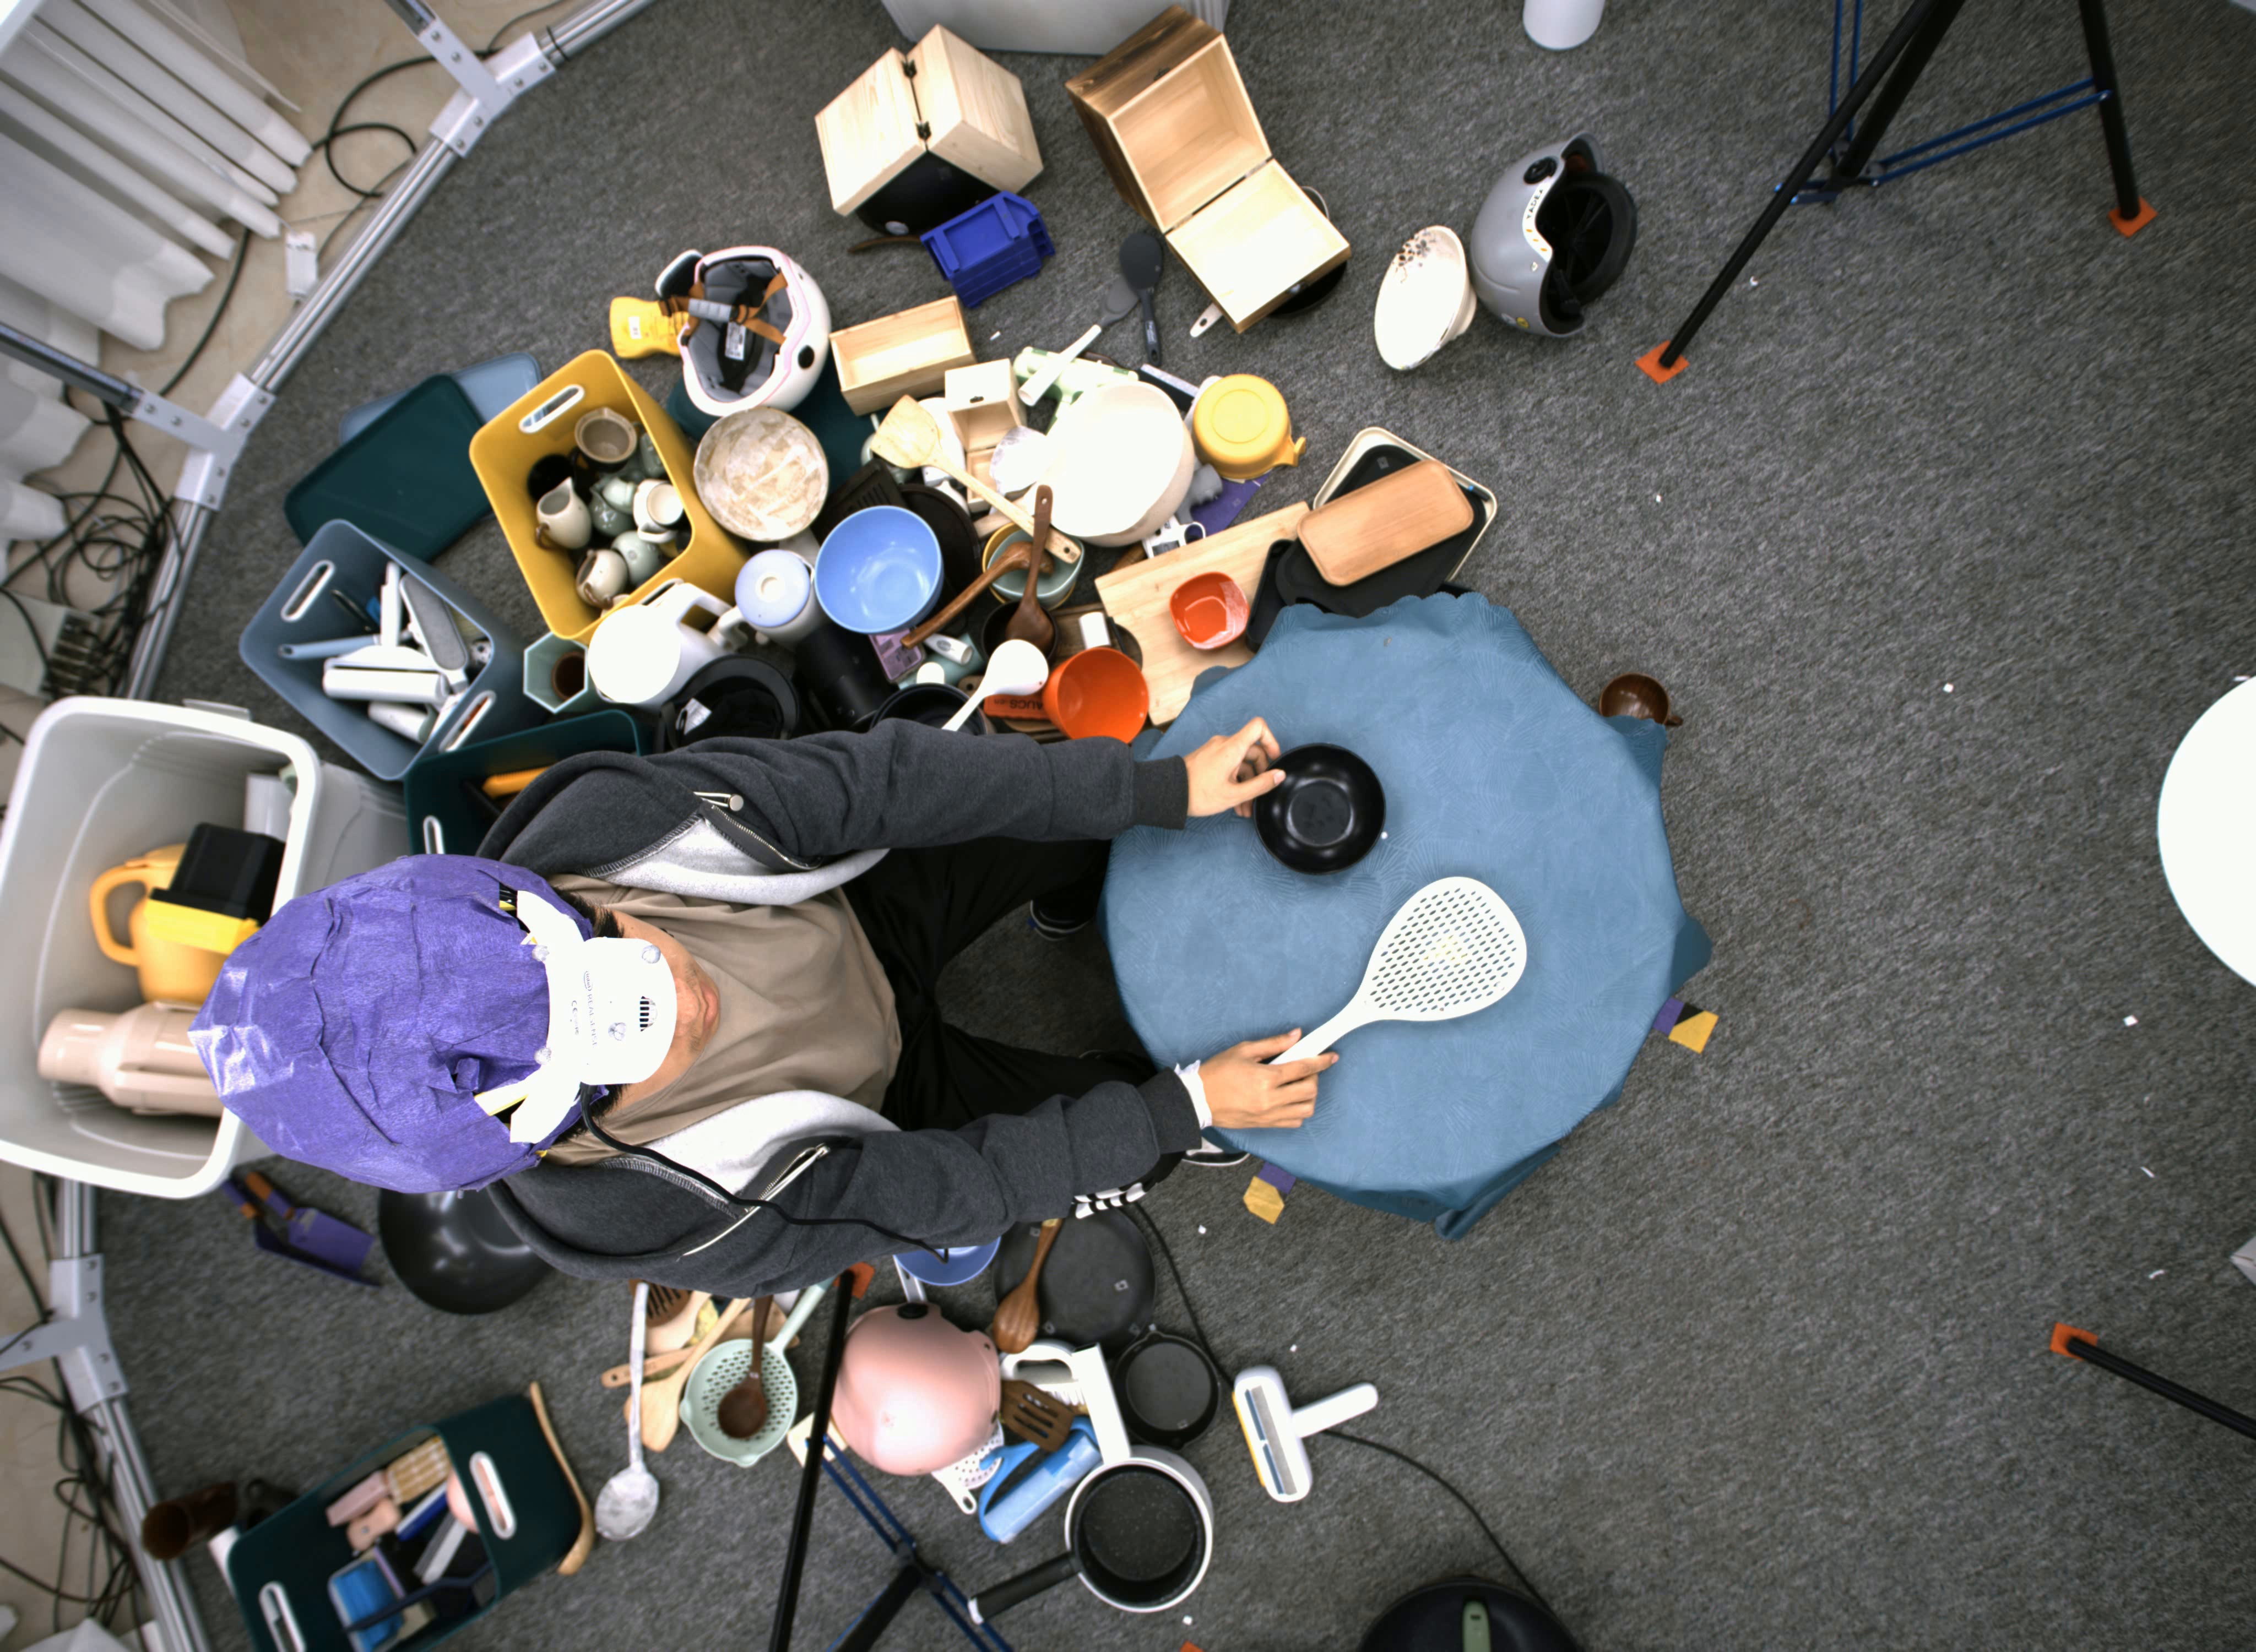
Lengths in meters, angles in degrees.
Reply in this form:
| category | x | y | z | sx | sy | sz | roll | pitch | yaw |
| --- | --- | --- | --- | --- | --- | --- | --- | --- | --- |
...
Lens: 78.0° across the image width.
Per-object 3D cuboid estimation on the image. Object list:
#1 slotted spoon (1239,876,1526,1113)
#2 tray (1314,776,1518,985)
| category | x | y | z | sx | sy | sz | roll | pitch | yaw |
| --- | --- | --- | --- | --- | --- | --- | --- | --- | --- |
| slotted spoon | 0.250 | 0.187 | 1.436 | 0.350 | 0.050 | 0.136 | -37 | 81 | 7 |
| tray | 0.414 | 0.094 | 1.987 | 0.191 | 0.027 | 0.300 | 27 | 91 | 11 |
